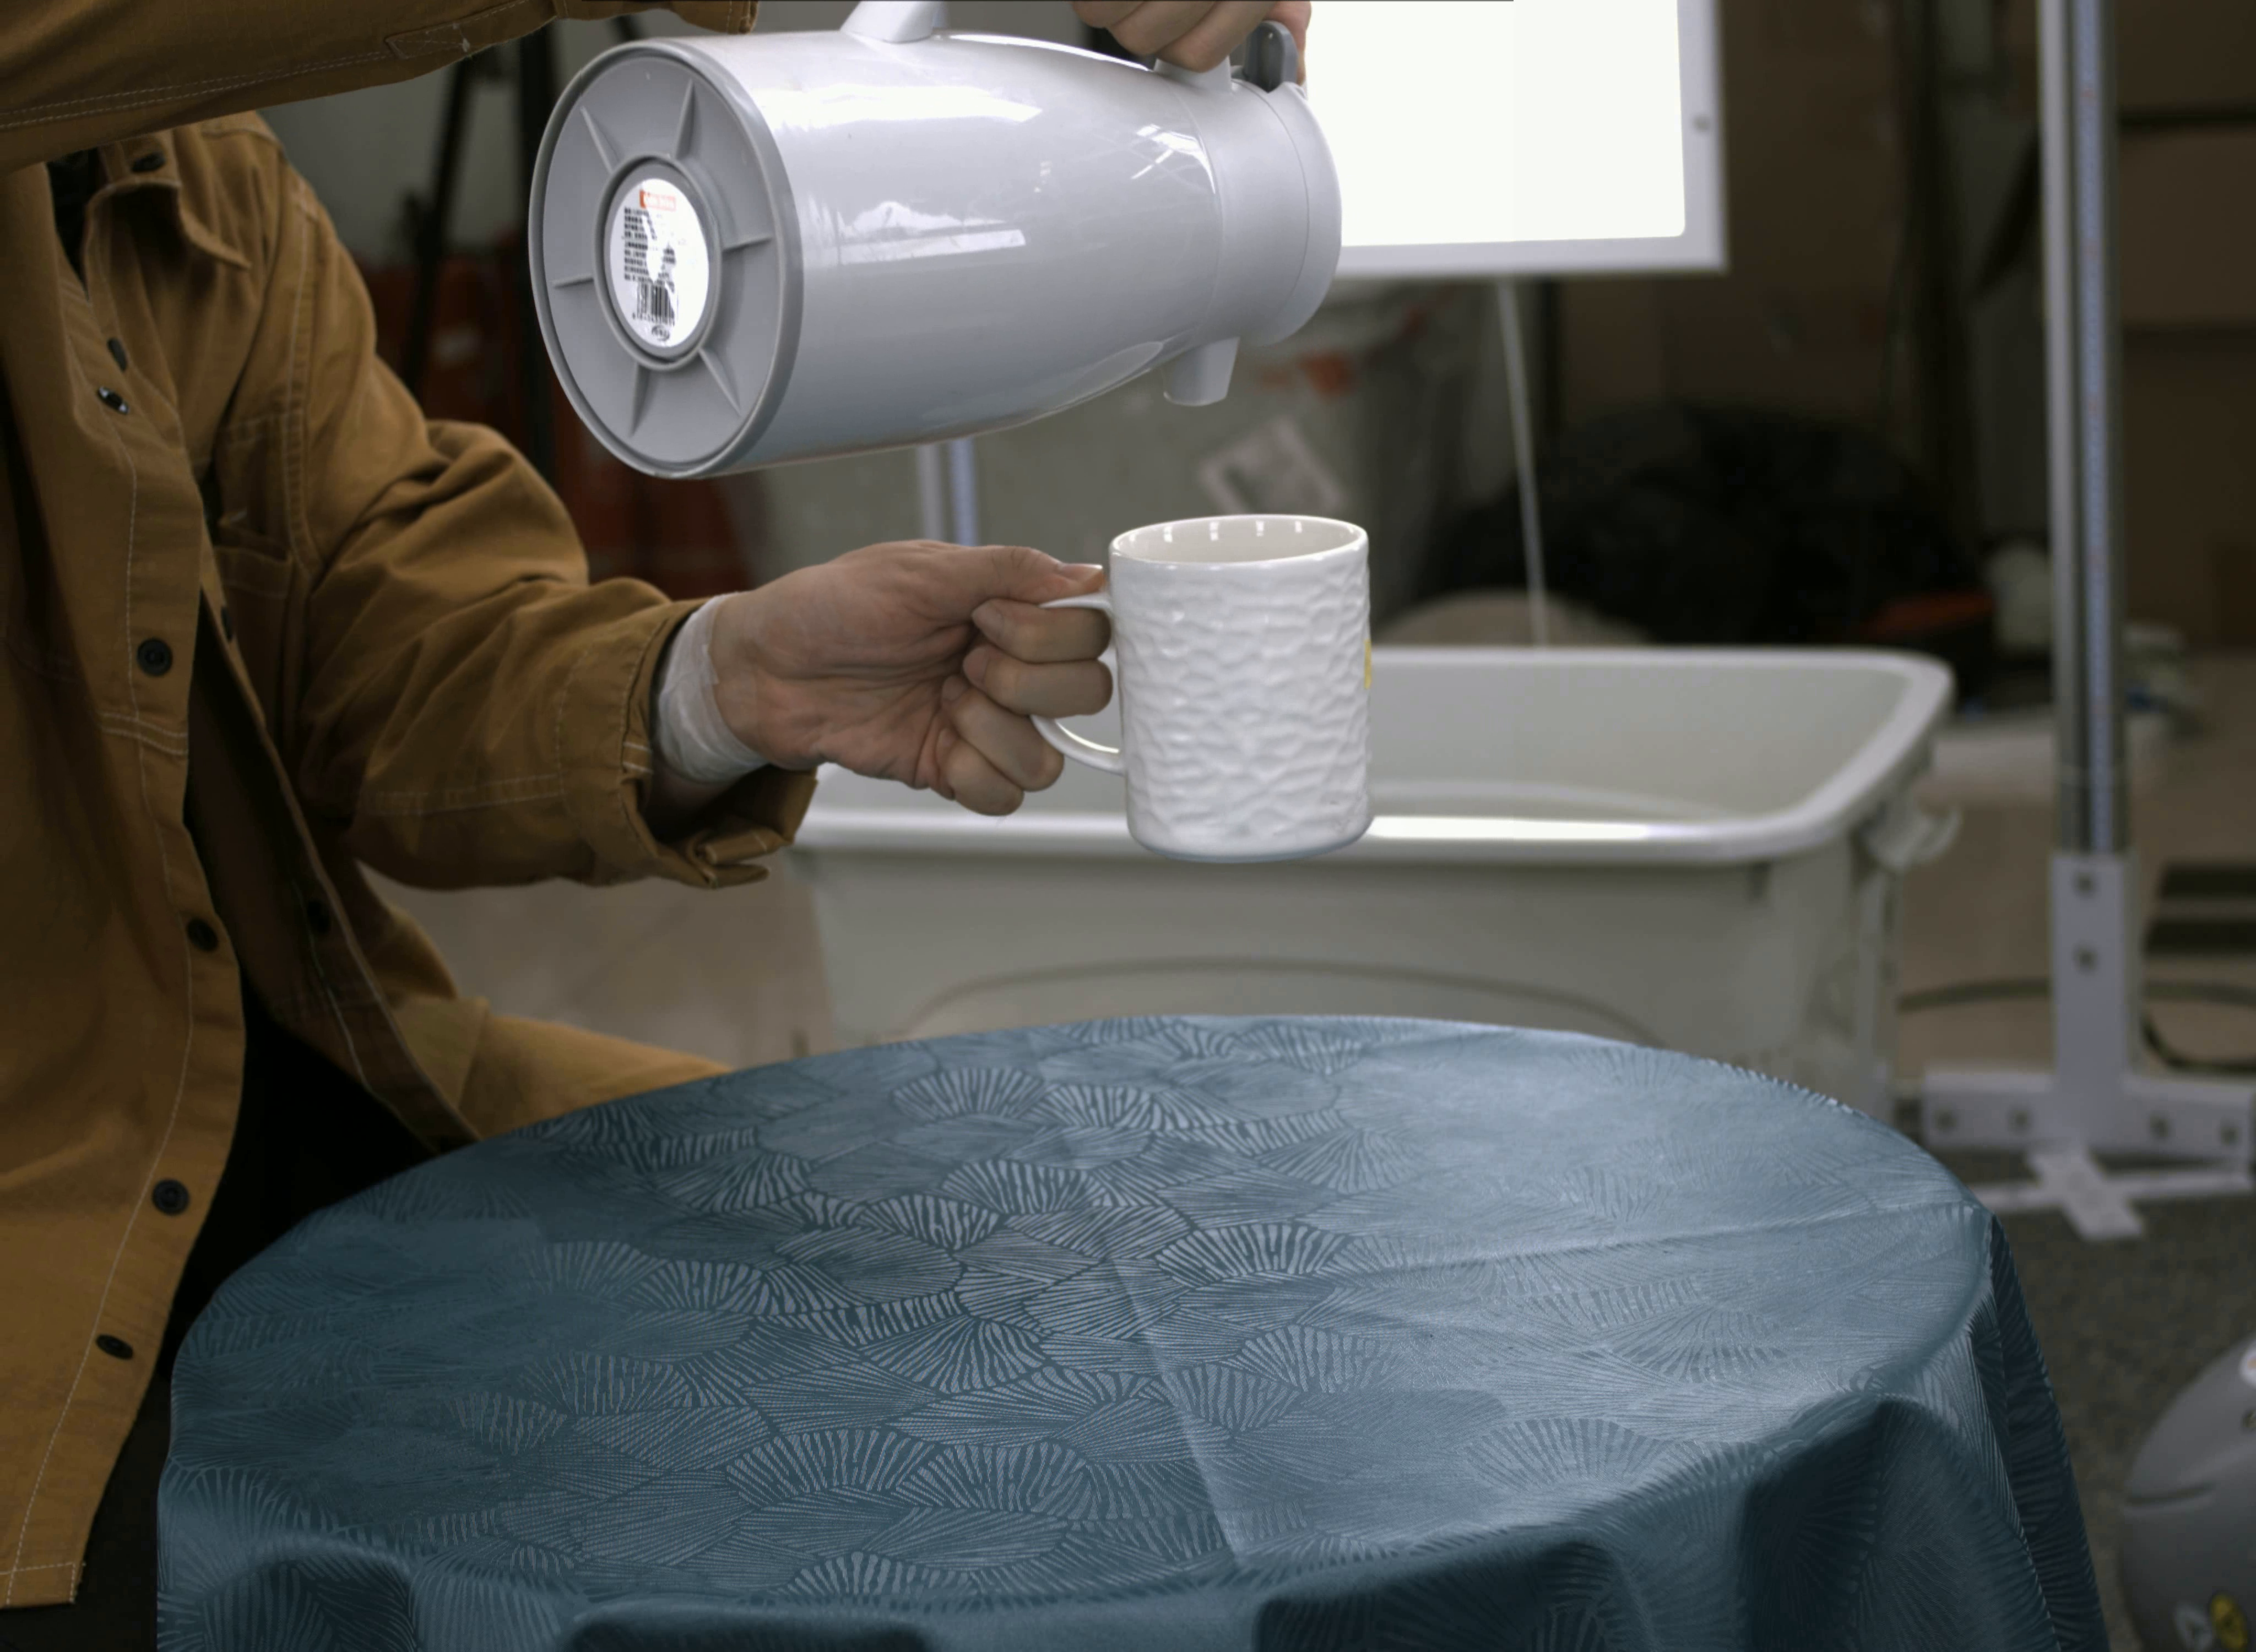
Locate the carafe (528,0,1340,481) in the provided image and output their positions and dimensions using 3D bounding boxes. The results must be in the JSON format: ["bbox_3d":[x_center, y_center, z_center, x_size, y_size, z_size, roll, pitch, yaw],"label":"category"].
[{"bbox_3d":[-0.047,-0.203,1.715,0.242,0.169,0.135,-11,23,-37],"label":"carafe"}]

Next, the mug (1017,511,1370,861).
[{"bbox_3d":[0.022,-0.047,1.831,0.119,0.102,0.084,0,14,9],"label":"mug"}]
